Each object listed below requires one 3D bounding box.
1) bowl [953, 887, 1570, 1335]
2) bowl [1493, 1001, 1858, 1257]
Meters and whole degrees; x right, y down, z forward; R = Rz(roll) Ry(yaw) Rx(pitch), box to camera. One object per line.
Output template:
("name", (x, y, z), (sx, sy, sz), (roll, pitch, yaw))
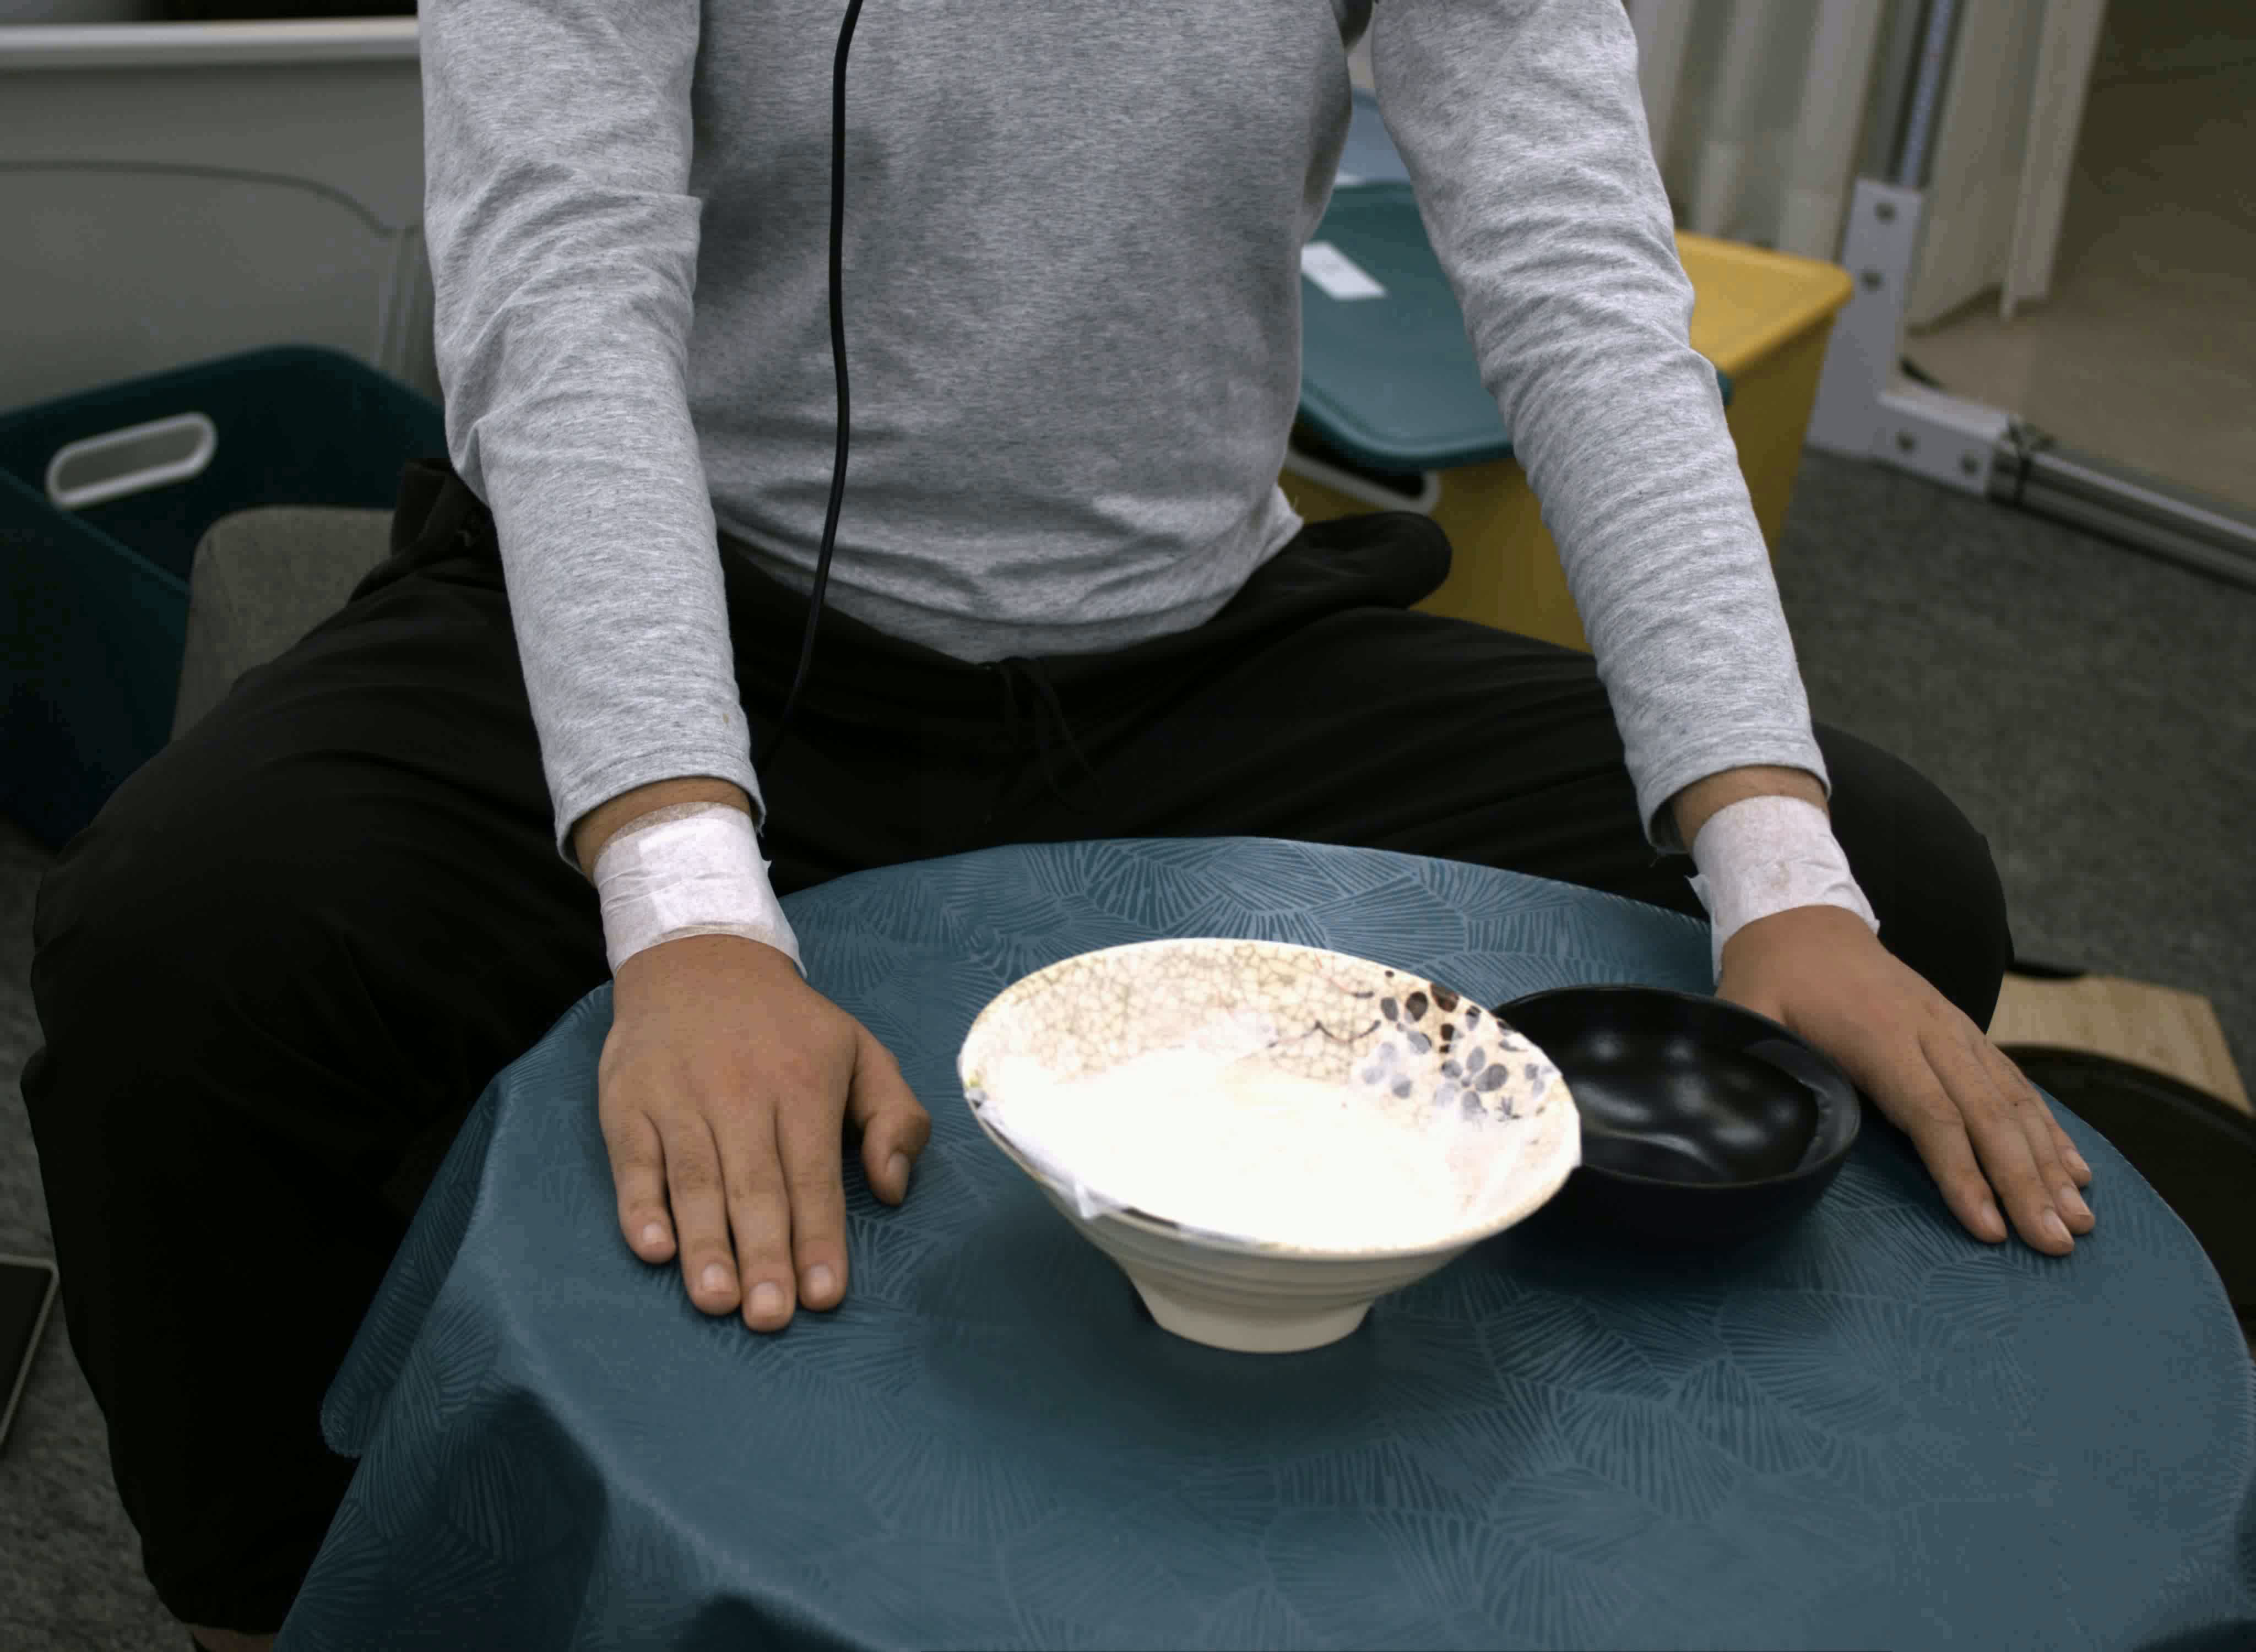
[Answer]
("bowl", (0.037, 0.109, 1.732), (0.203, 0.077, 0.205), (8, 32, -6))
("bowl", (0.178, 0.111, 1.824), (0.139, 0.049, 0.141), (6, 21, -3))
